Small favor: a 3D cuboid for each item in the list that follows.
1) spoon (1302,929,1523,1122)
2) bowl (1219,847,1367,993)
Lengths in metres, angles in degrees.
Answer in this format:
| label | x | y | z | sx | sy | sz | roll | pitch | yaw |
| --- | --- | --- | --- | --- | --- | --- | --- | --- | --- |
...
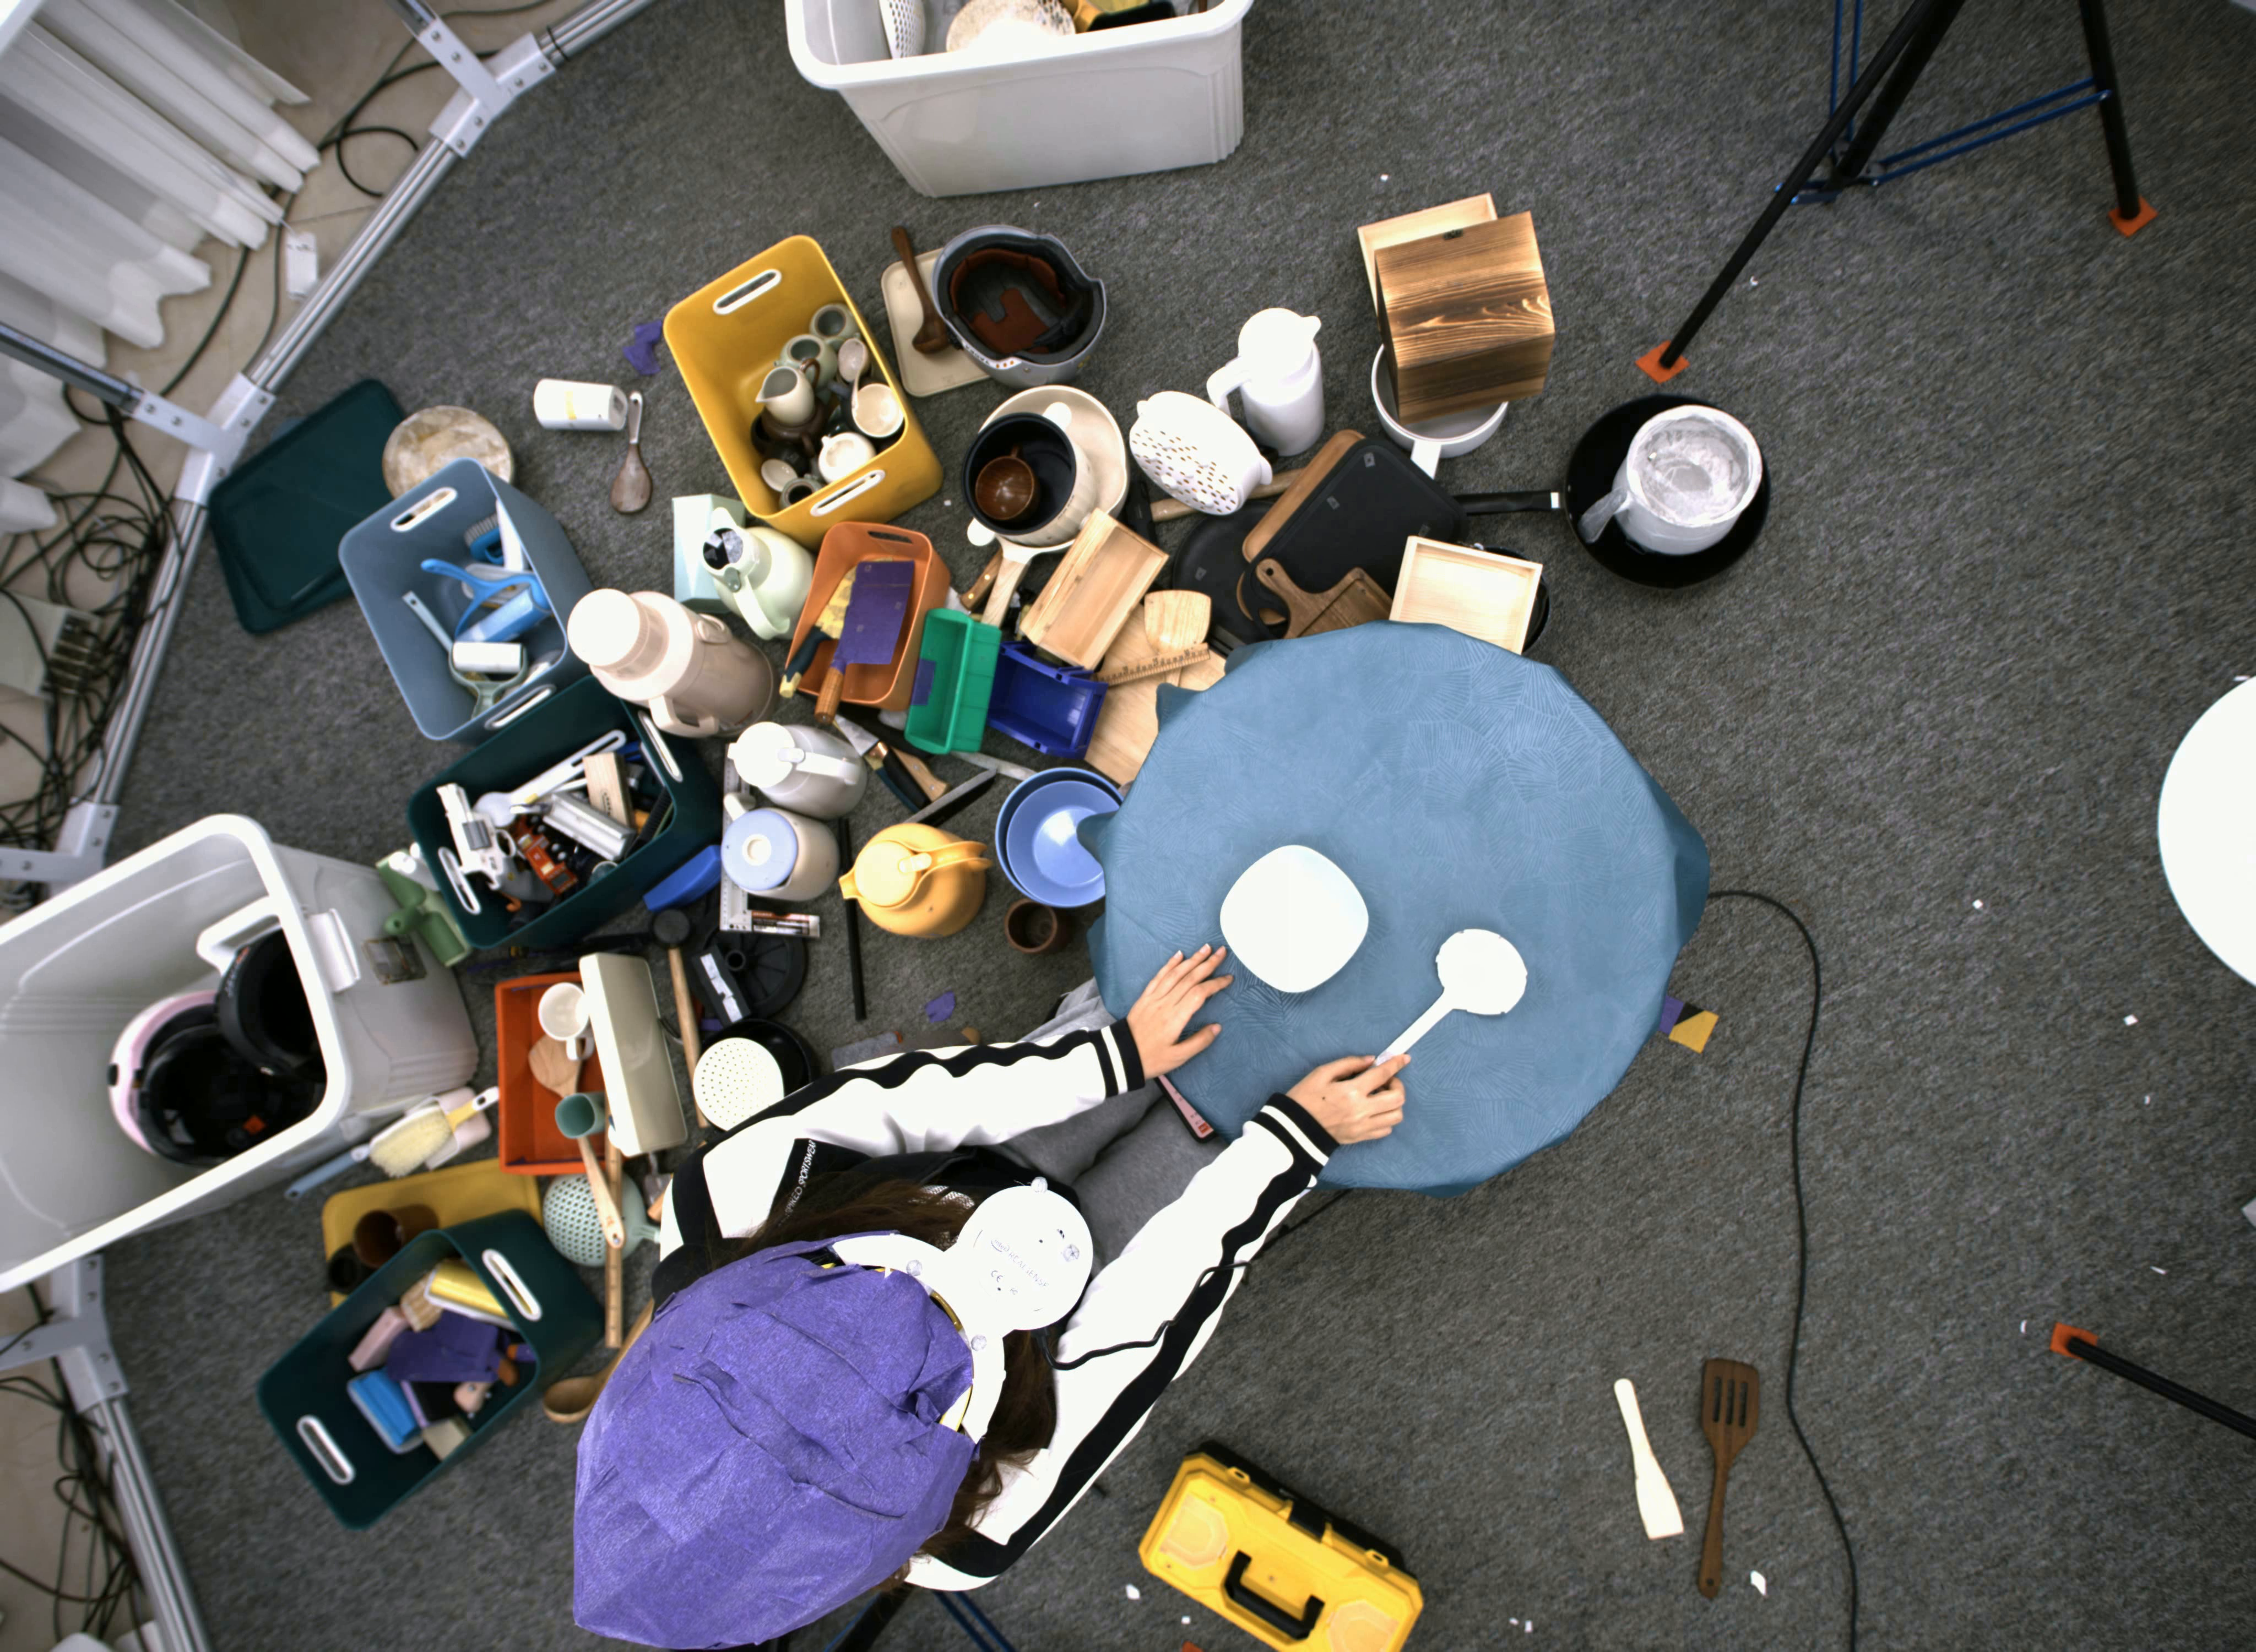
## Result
| label | x | y | z | sx | sy | sz | roll | pitch | yaw |
| --- | --- | --- | --- | --- | --- | --- | --- | --- | --- |
| spoon | 0.282 | 0.210 | 1.421 | 0.279 | 0.059 | 0.100 | -40 | 75 | 6 |
| bowl | 0.174 | 0.099 | 1.451 | 0.152 | 0.059 | 0.150 | -1 | 86 | 11 |
